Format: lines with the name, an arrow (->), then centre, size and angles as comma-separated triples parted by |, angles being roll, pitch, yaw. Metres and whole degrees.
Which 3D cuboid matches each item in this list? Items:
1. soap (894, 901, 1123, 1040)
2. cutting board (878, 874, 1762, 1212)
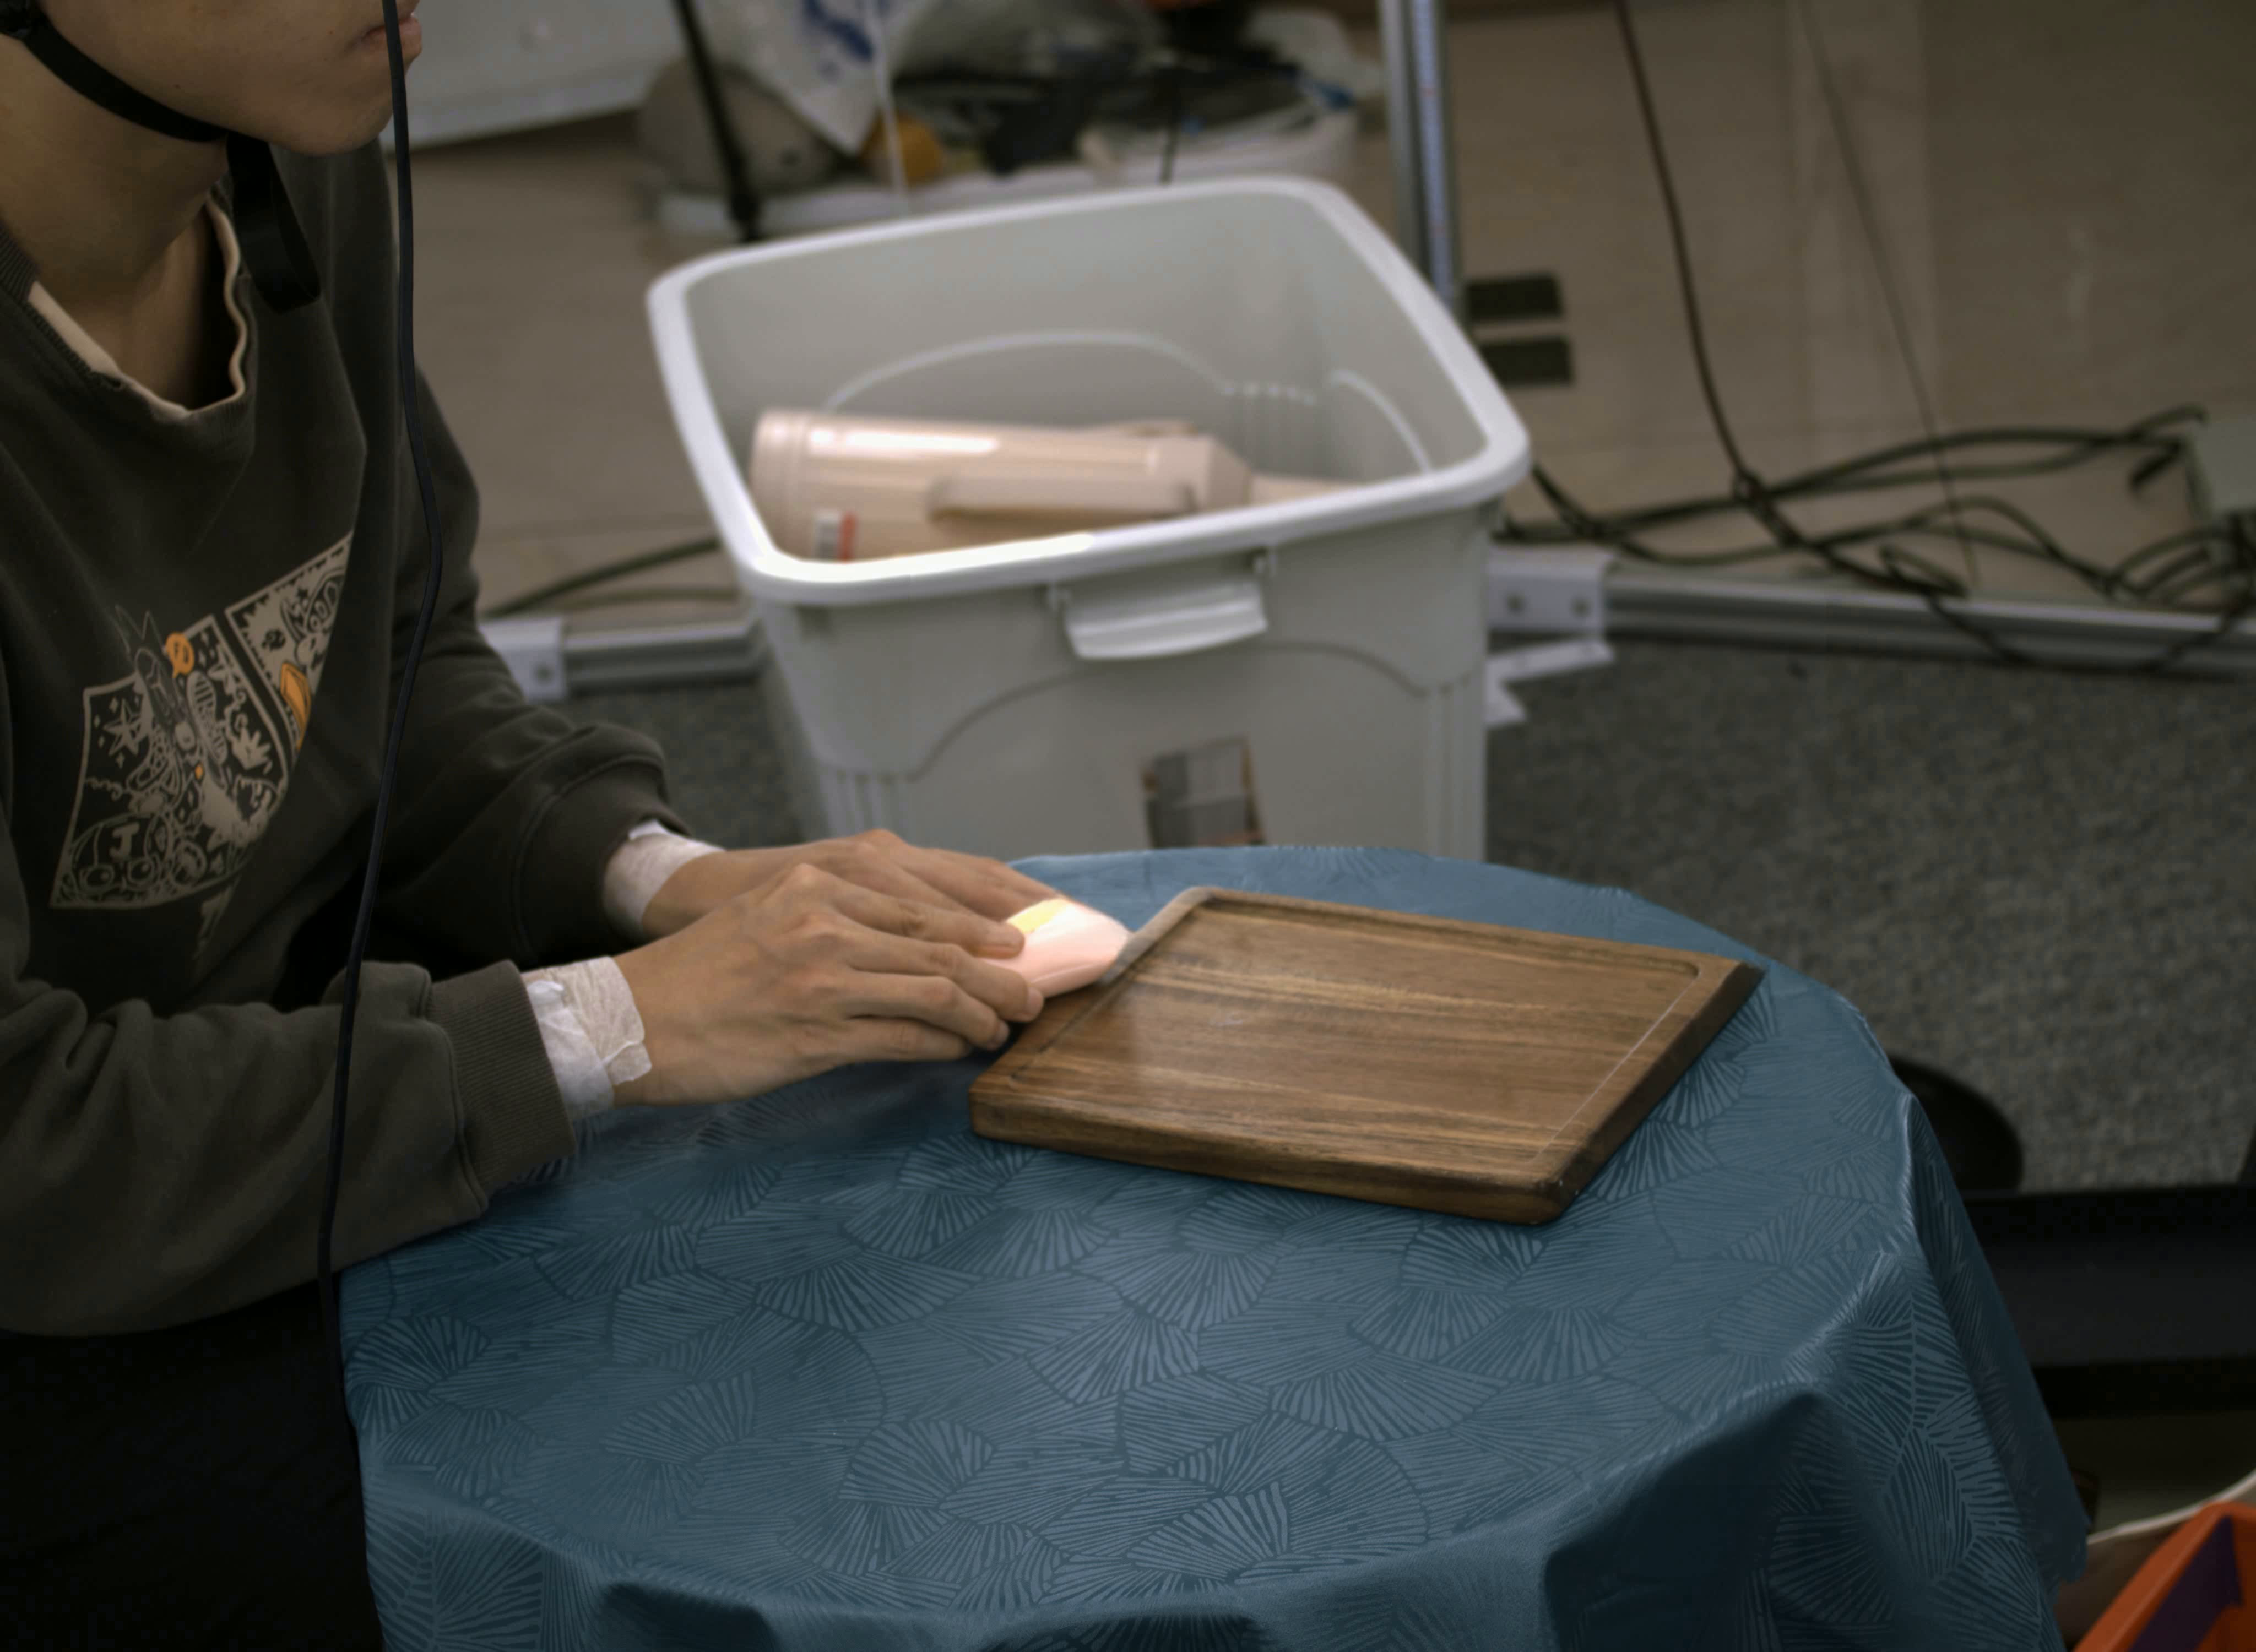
soap -> -0.047, 0.057, 2.255 | 0.094, 0.031, 0.050 | -23, 29, -26
cutting board -> 0.055, 0.075, 2.244 | 0.350, 0.023, 0.198 | 8, 29, 29
